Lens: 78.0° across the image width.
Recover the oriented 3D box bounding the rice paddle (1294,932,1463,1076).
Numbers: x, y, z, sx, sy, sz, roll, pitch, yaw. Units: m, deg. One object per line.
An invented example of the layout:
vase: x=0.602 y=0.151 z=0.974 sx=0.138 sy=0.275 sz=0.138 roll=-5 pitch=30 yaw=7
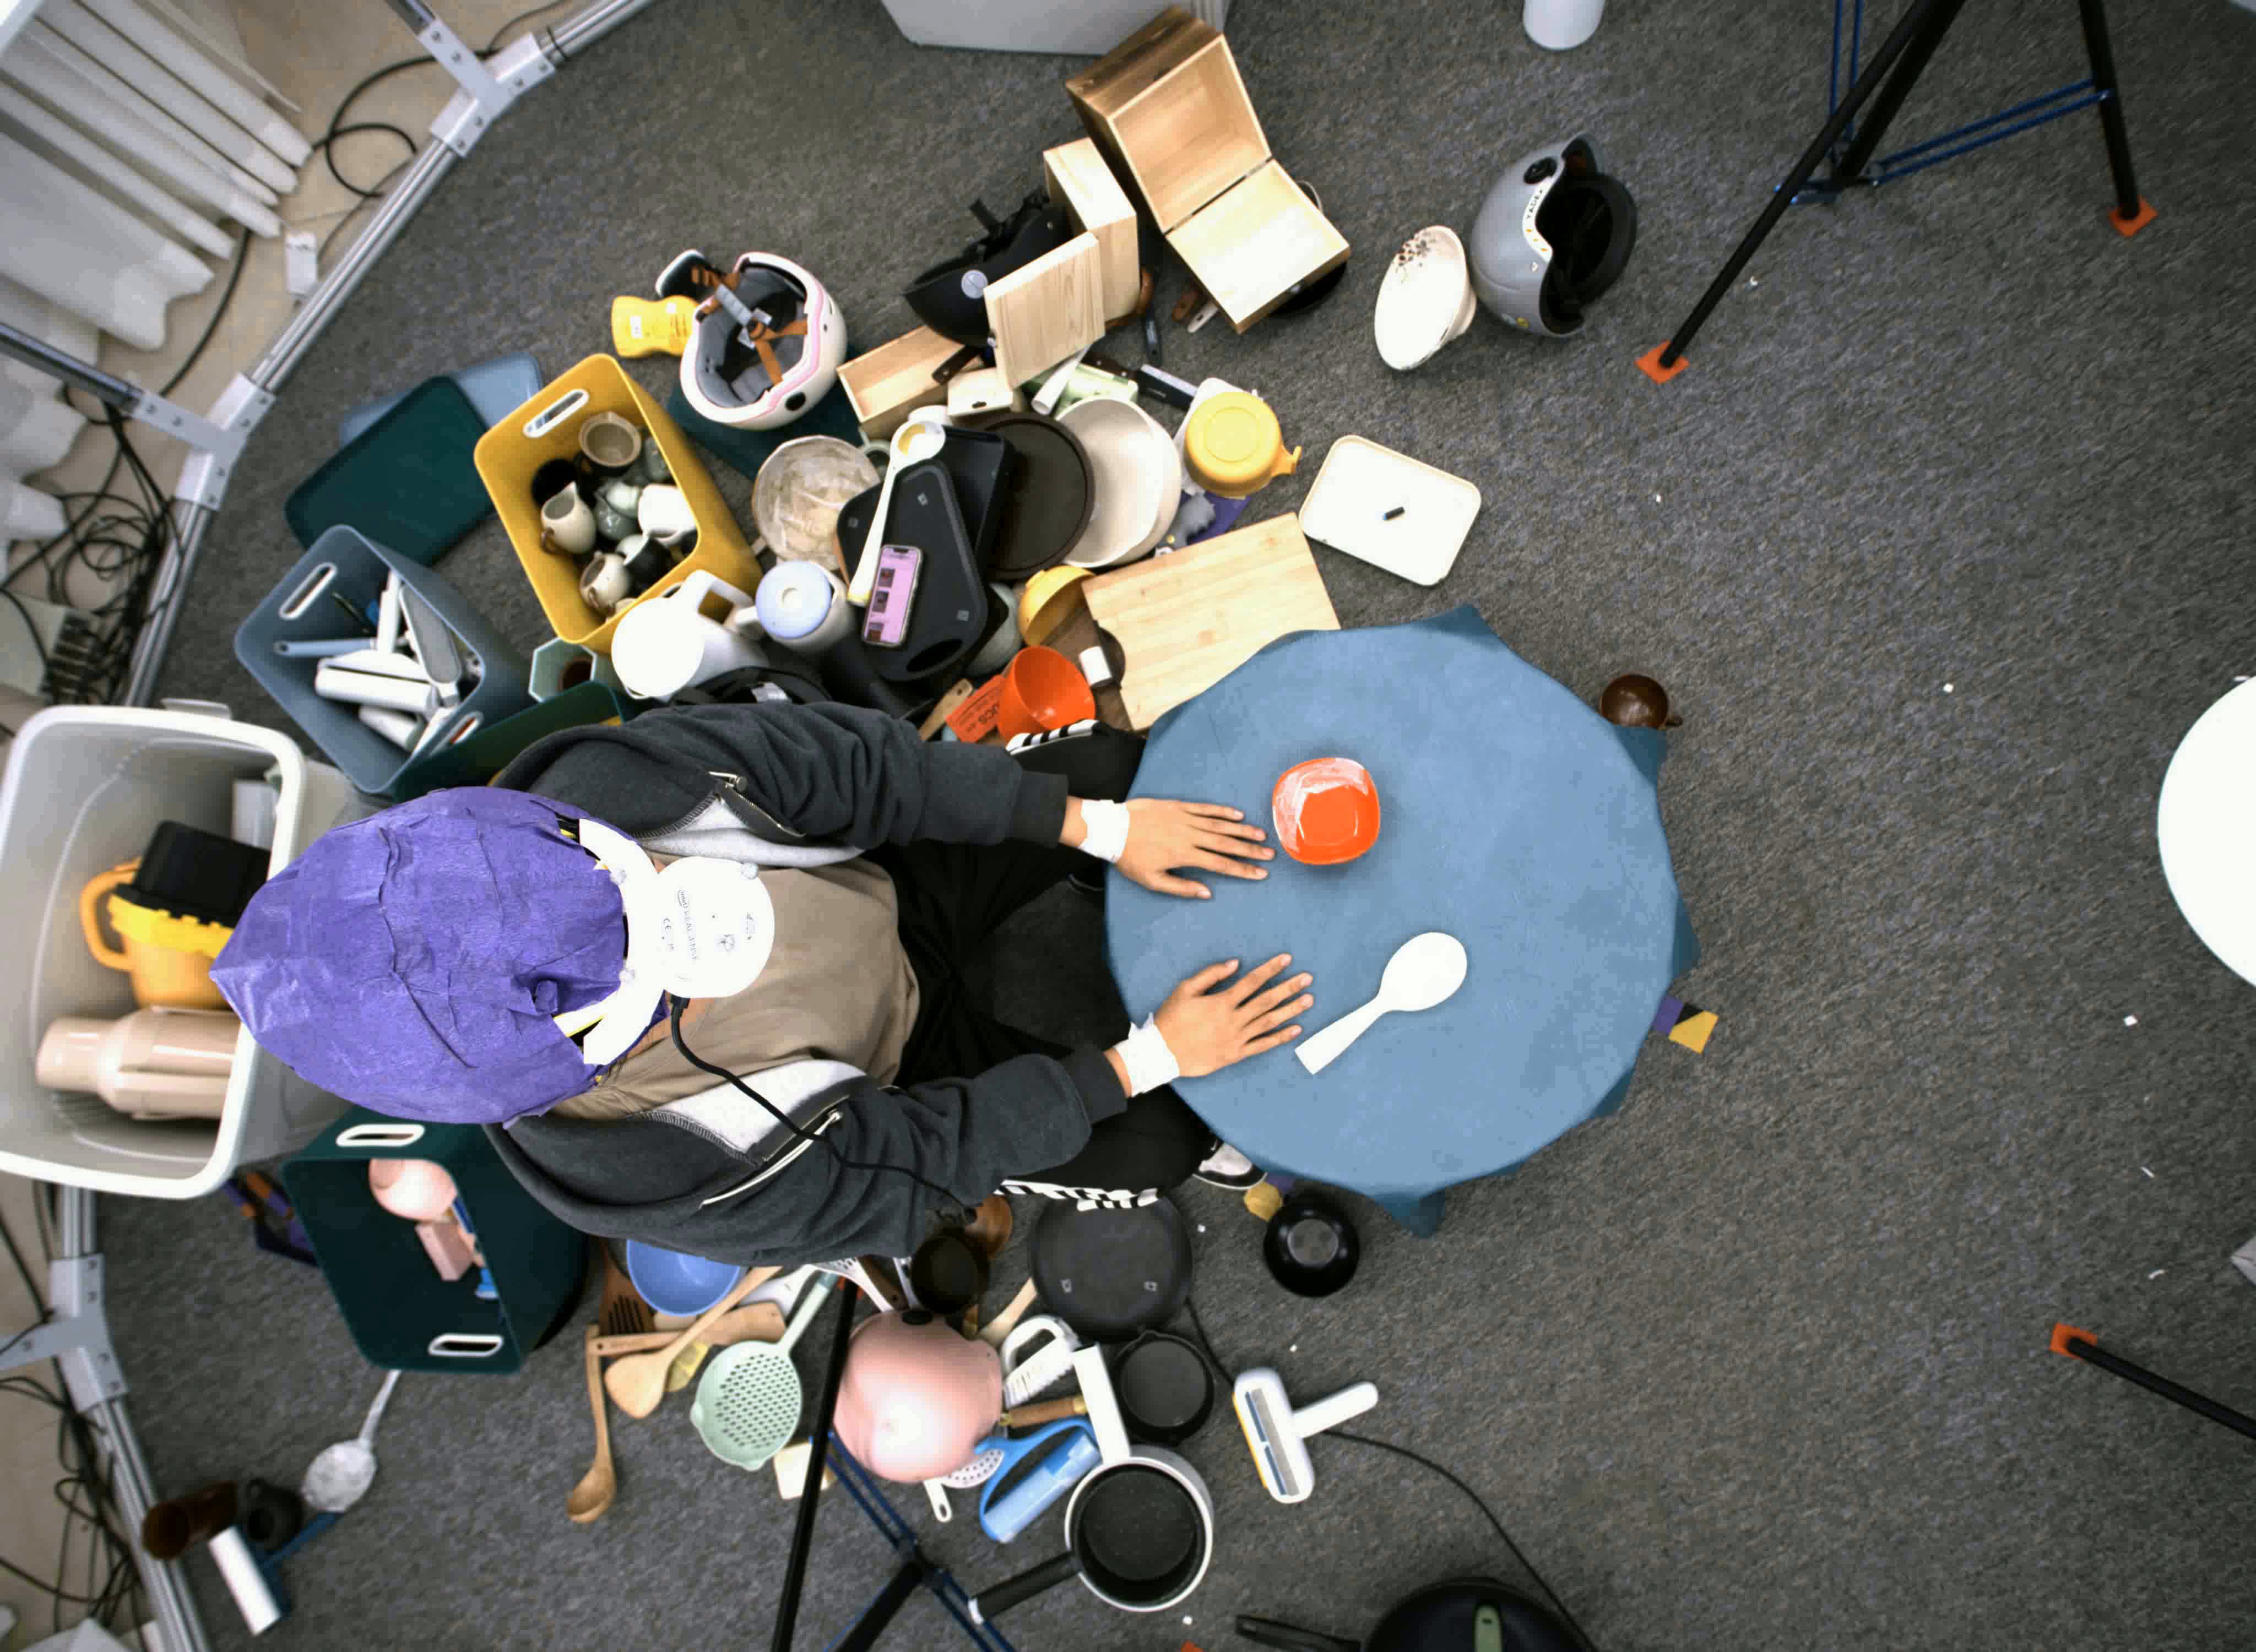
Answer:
rice paddle: x=0.261 y=0.184 z=1.439 sx=0.206 sy=0.029 sz=0.068 roll=-39 pitch=82 yaw=6

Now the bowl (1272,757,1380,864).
bowl: x=0.207 y=-0.014 z=1.448 sx=0.119 sy=0.051 sz=0.118 roll=-1 pitch=86 yaw=9
